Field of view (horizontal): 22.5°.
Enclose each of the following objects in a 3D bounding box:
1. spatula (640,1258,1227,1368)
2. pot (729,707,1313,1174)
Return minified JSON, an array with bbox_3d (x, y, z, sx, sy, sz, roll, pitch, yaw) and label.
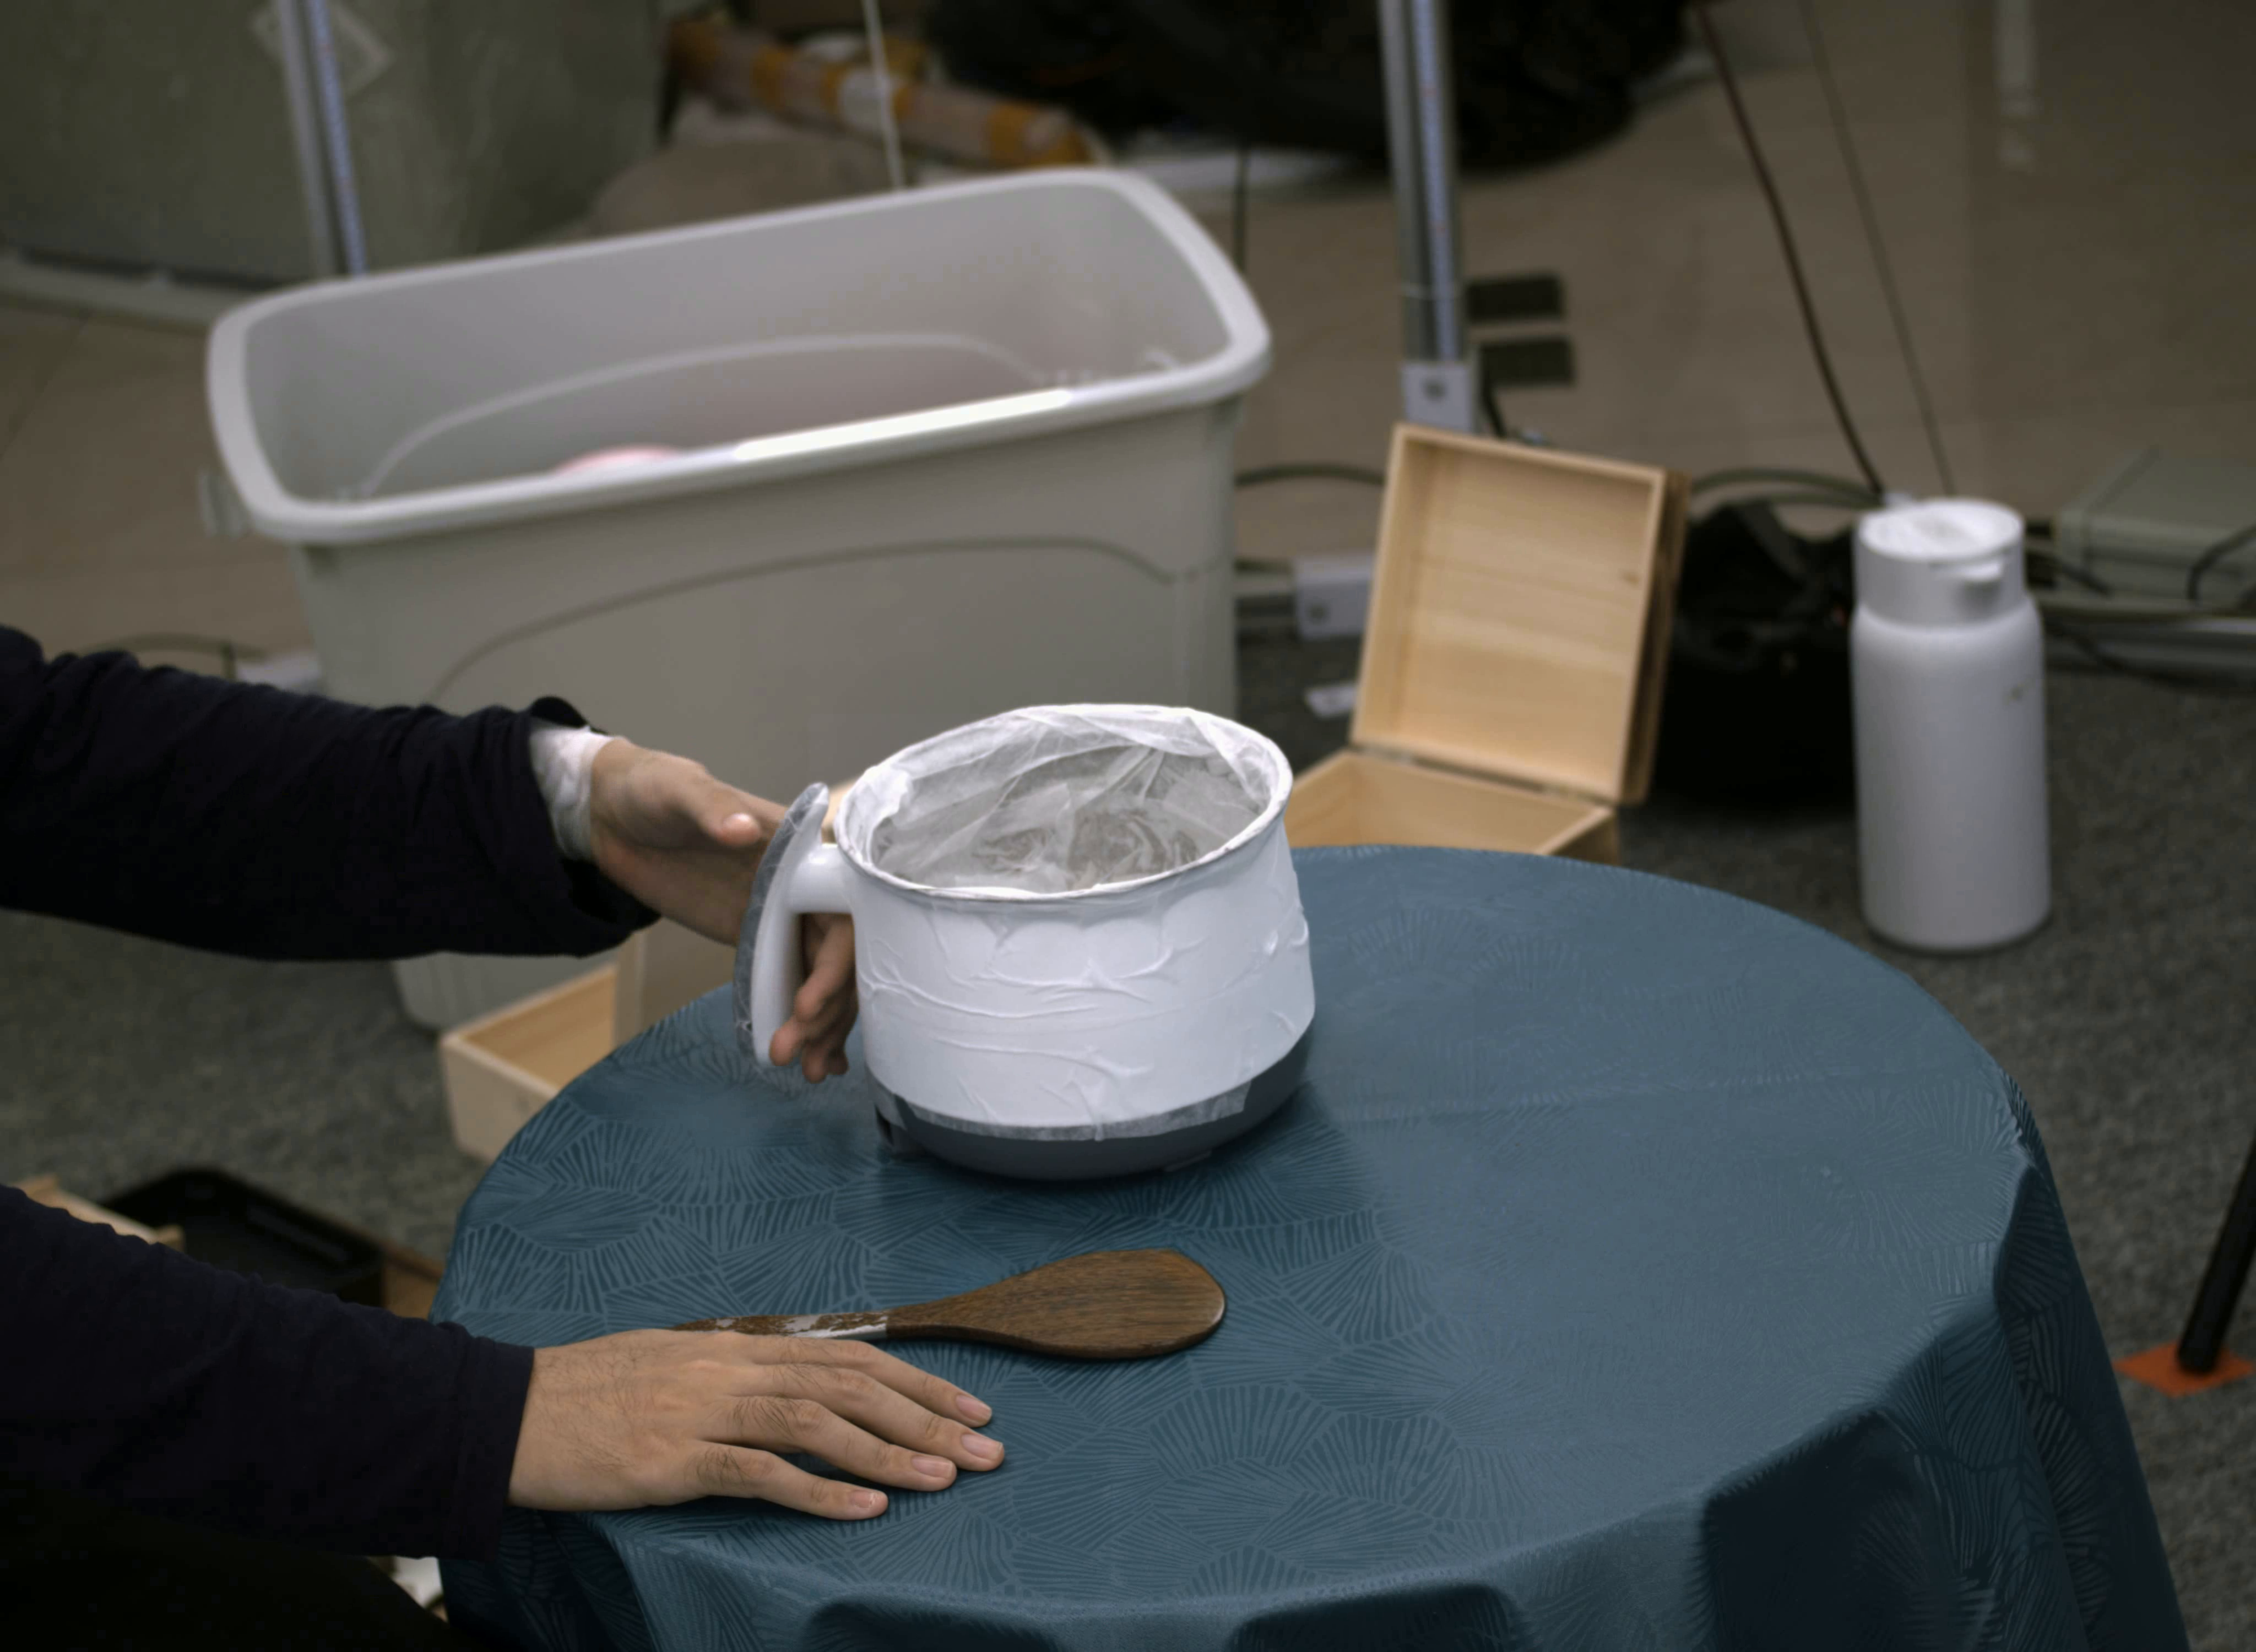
[{"bbox_3d":[-0.071,0.182,2.071,0.215,0.009,0.071,-6,23,4],"label":"spatula"},{"bbox_3d":[-0.045,0.045,2.197,0.233,0.138,0.176,1,24,13],"label":"pot"}]
